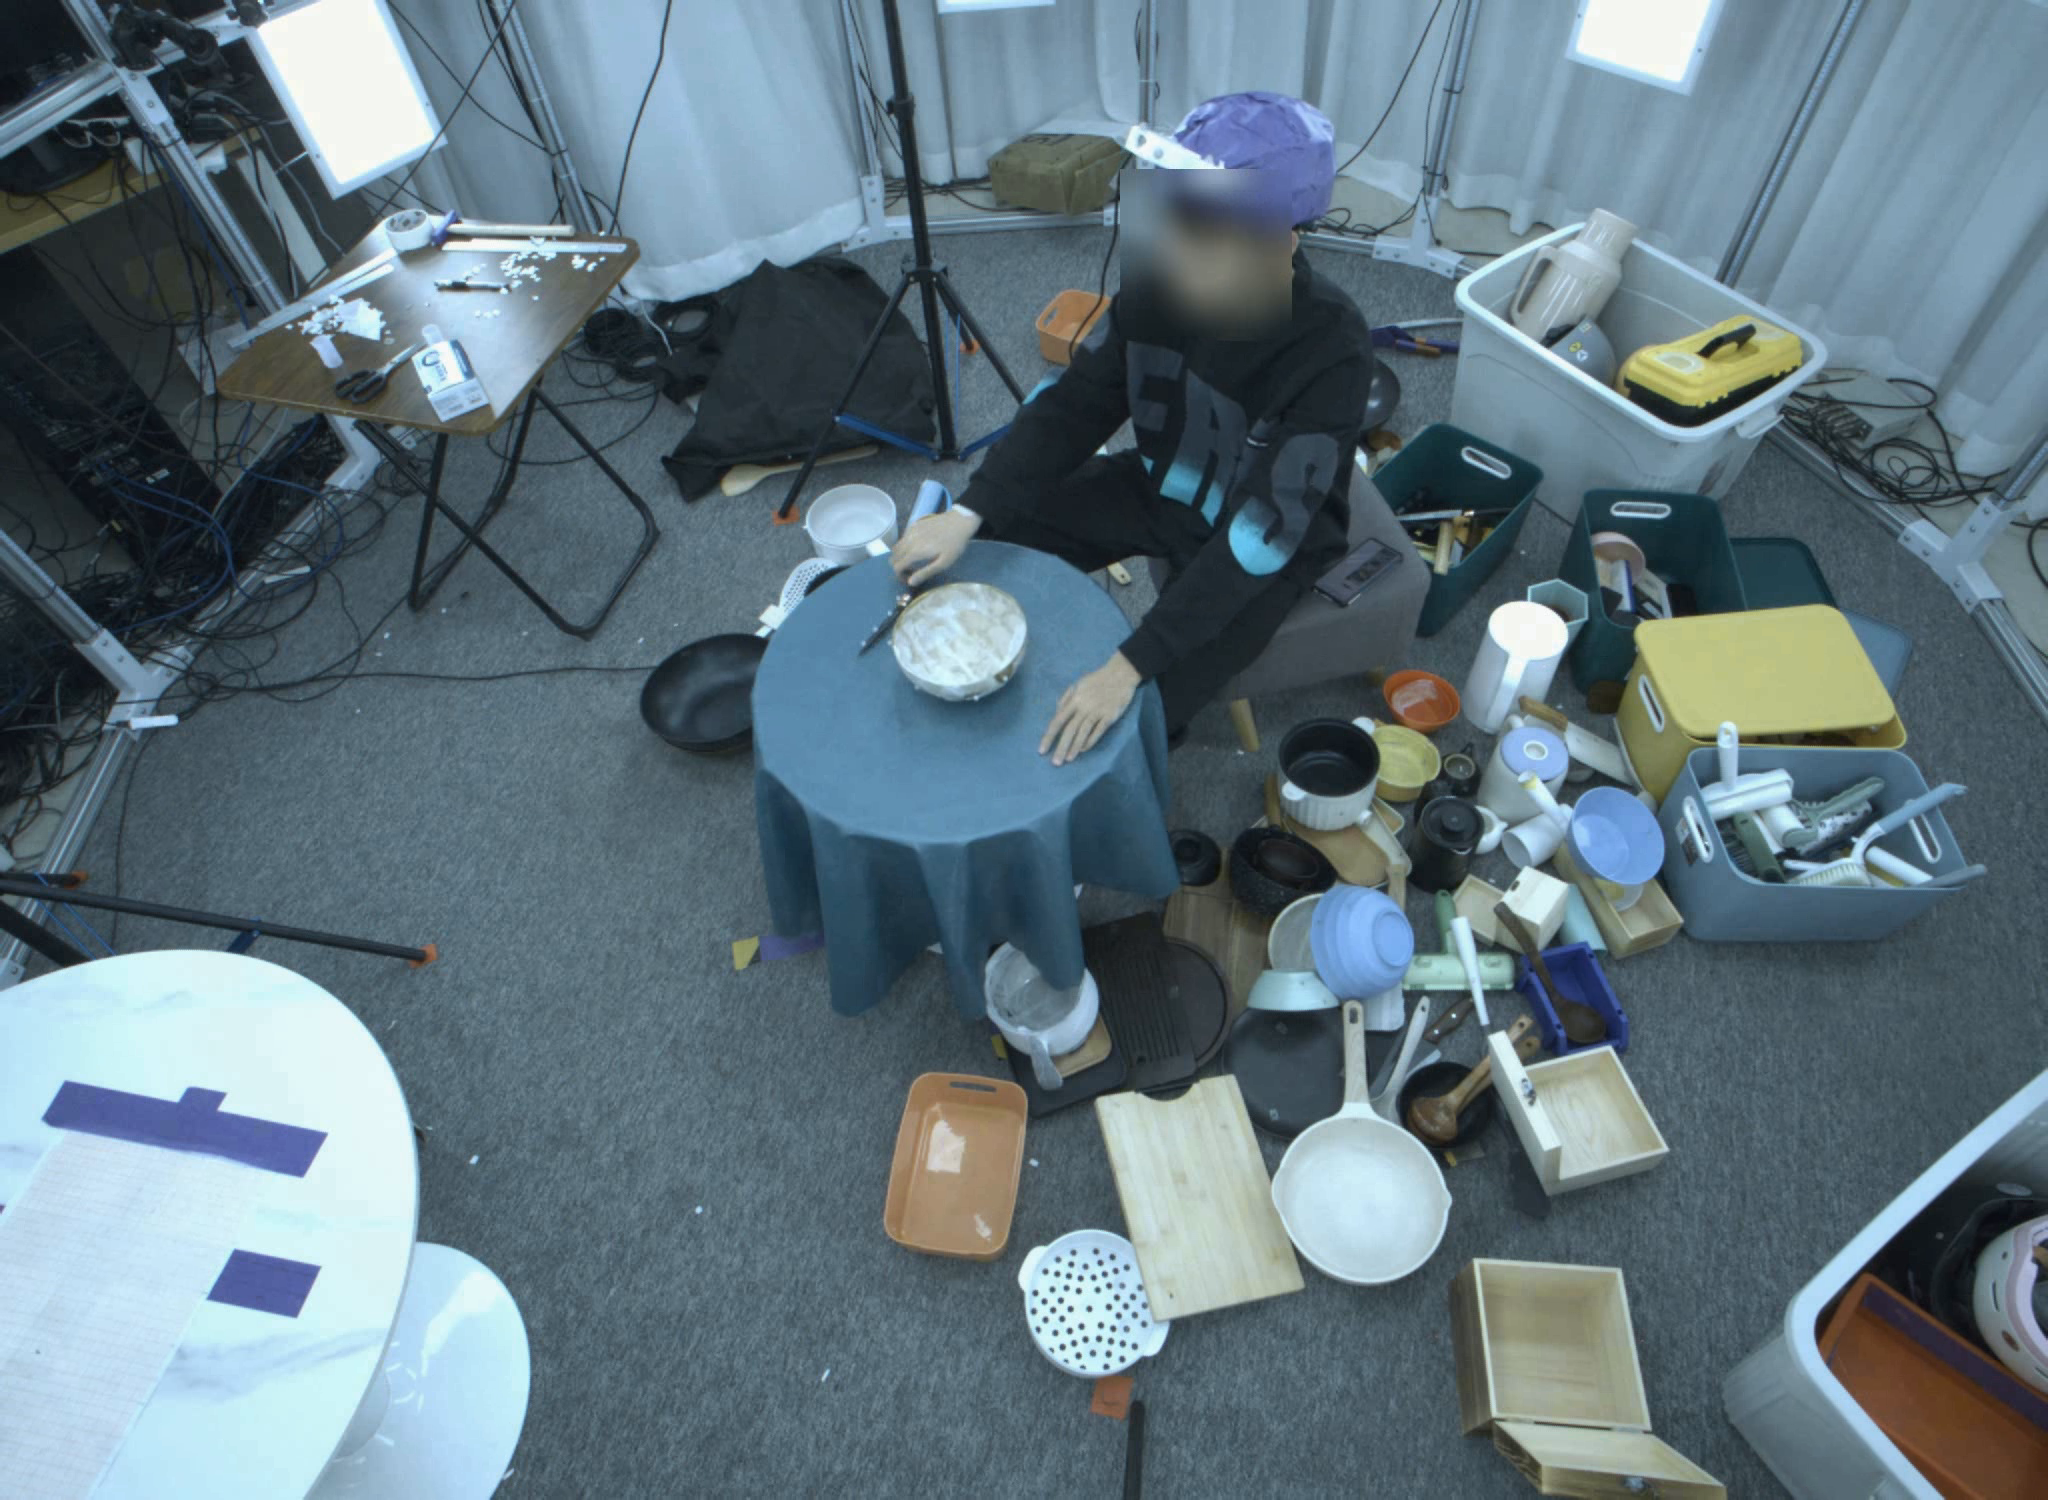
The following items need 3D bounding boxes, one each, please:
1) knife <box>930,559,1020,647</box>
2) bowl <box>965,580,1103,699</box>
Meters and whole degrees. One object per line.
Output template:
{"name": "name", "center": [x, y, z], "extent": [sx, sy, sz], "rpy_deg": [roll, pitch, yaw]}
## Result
{"name": "knife", "center": [-0.079, -0.234, 1.941], "extent": [0.227, 0.017, 0.025], "rpy_deg": [-47, 25, -26]}
{"name": "bowl", "center": [0.019, -0.151, 1.835], "extent": [0.214, 0.096, 0.212], "rpy_deg": [-1, 54, 3]}
